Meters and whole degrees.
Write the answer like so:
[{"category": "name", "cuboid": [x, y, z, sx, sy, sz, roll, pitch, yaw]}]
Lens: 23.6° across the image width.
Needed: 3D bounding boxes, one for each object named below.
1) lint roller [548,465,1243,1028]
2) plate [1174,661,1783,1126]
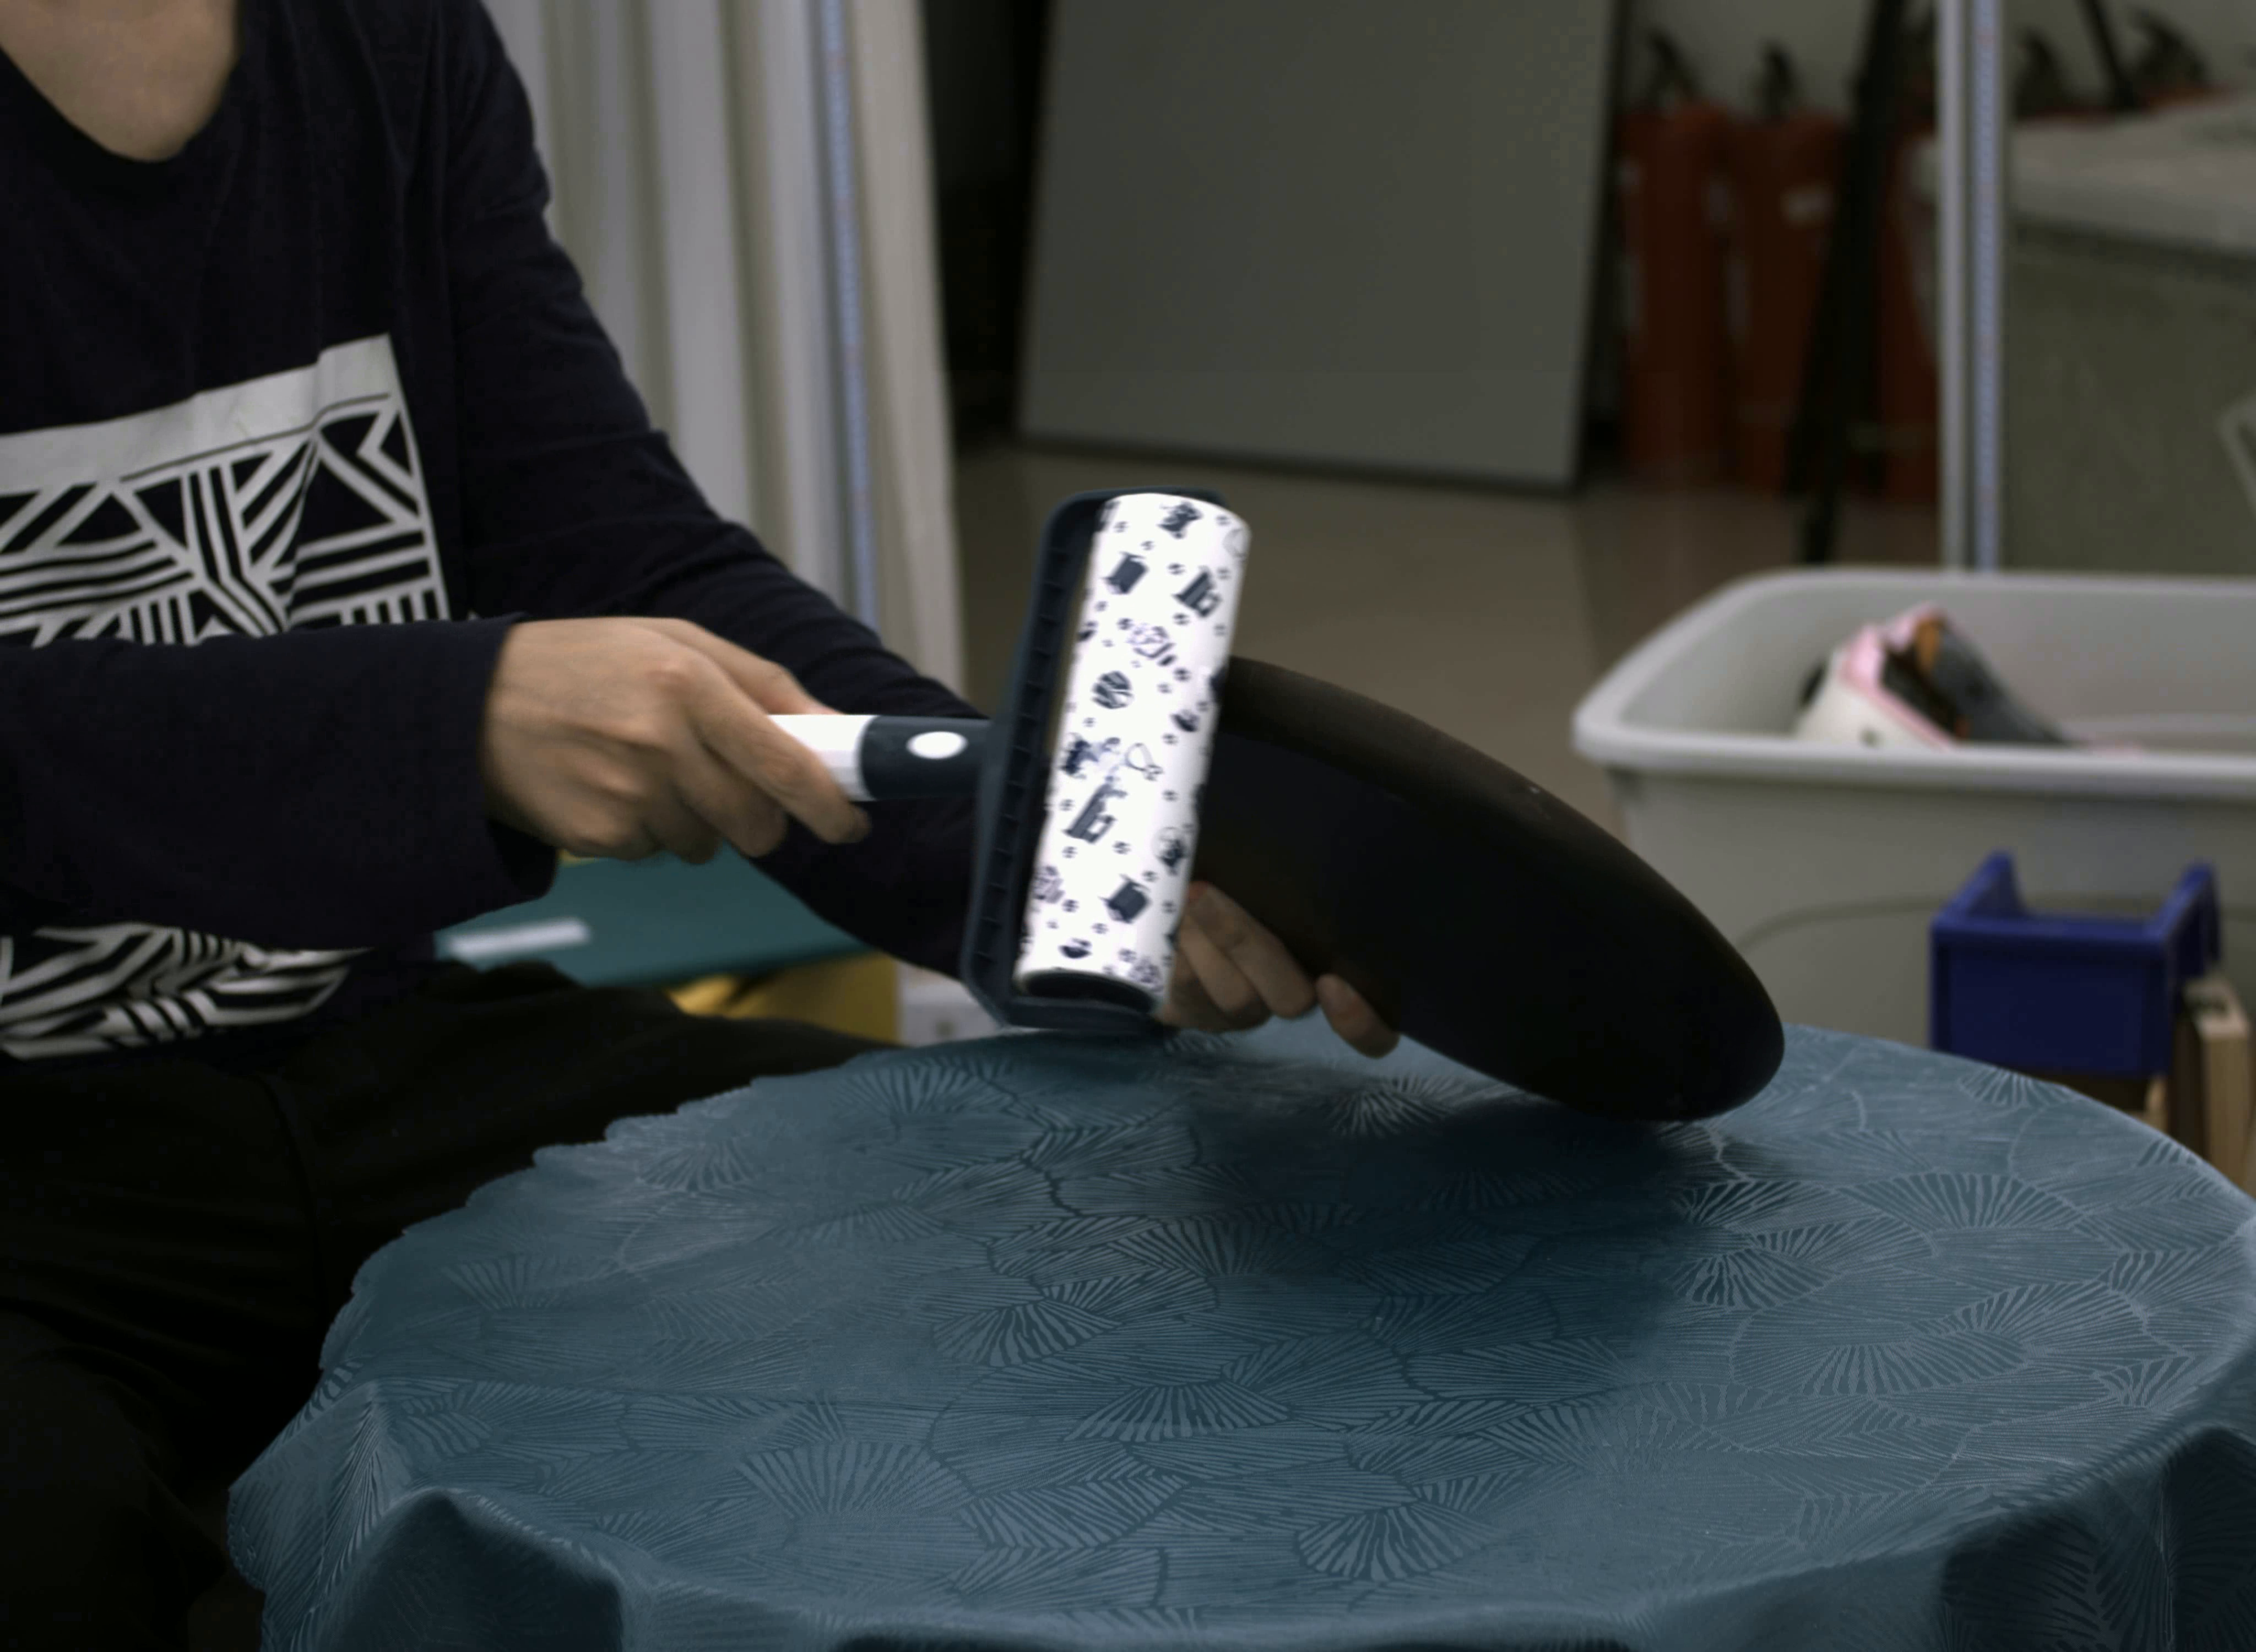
[{"category": "lint roller", "cuboid": [-0.085, -0.022, 1.711, 0.248, 0.178, 0.049, -2, -21, 29]}, {"category": "plate", "cuboid": [0.097, 0.025, 1.757, 0.257, 0.252, 0.029, 11, 62, 46]}]
